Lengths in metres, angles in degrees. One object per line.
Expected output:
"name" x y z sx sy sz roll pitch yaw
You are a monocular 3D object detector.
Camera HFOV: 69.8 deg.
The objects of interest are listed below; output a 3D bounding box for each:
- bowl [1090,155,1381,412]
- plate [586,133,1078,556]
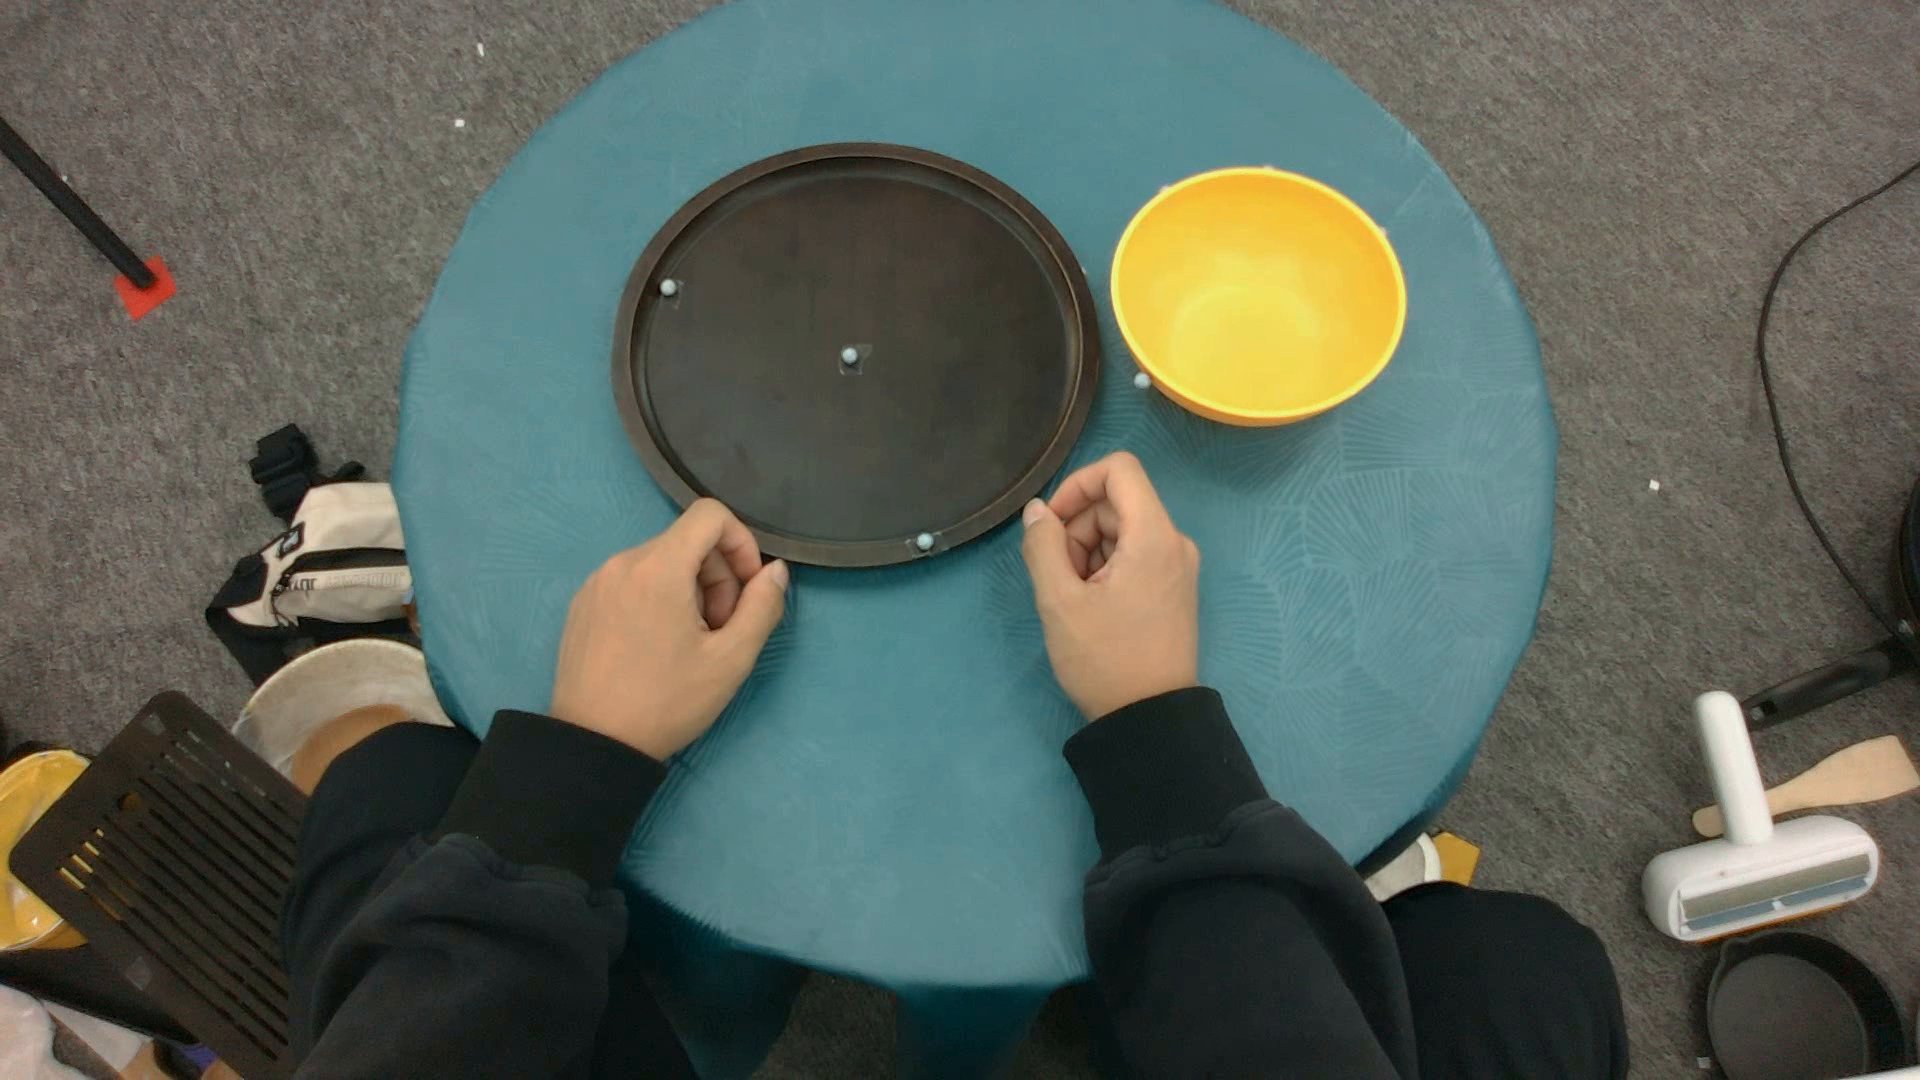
"bowl" 0.138 -0.122 0.712 0.145 0.060 0.146 0 69 0
"plate" -0.065 -0.107 0.717 0.255 0.029 0.255 1 68 -3
